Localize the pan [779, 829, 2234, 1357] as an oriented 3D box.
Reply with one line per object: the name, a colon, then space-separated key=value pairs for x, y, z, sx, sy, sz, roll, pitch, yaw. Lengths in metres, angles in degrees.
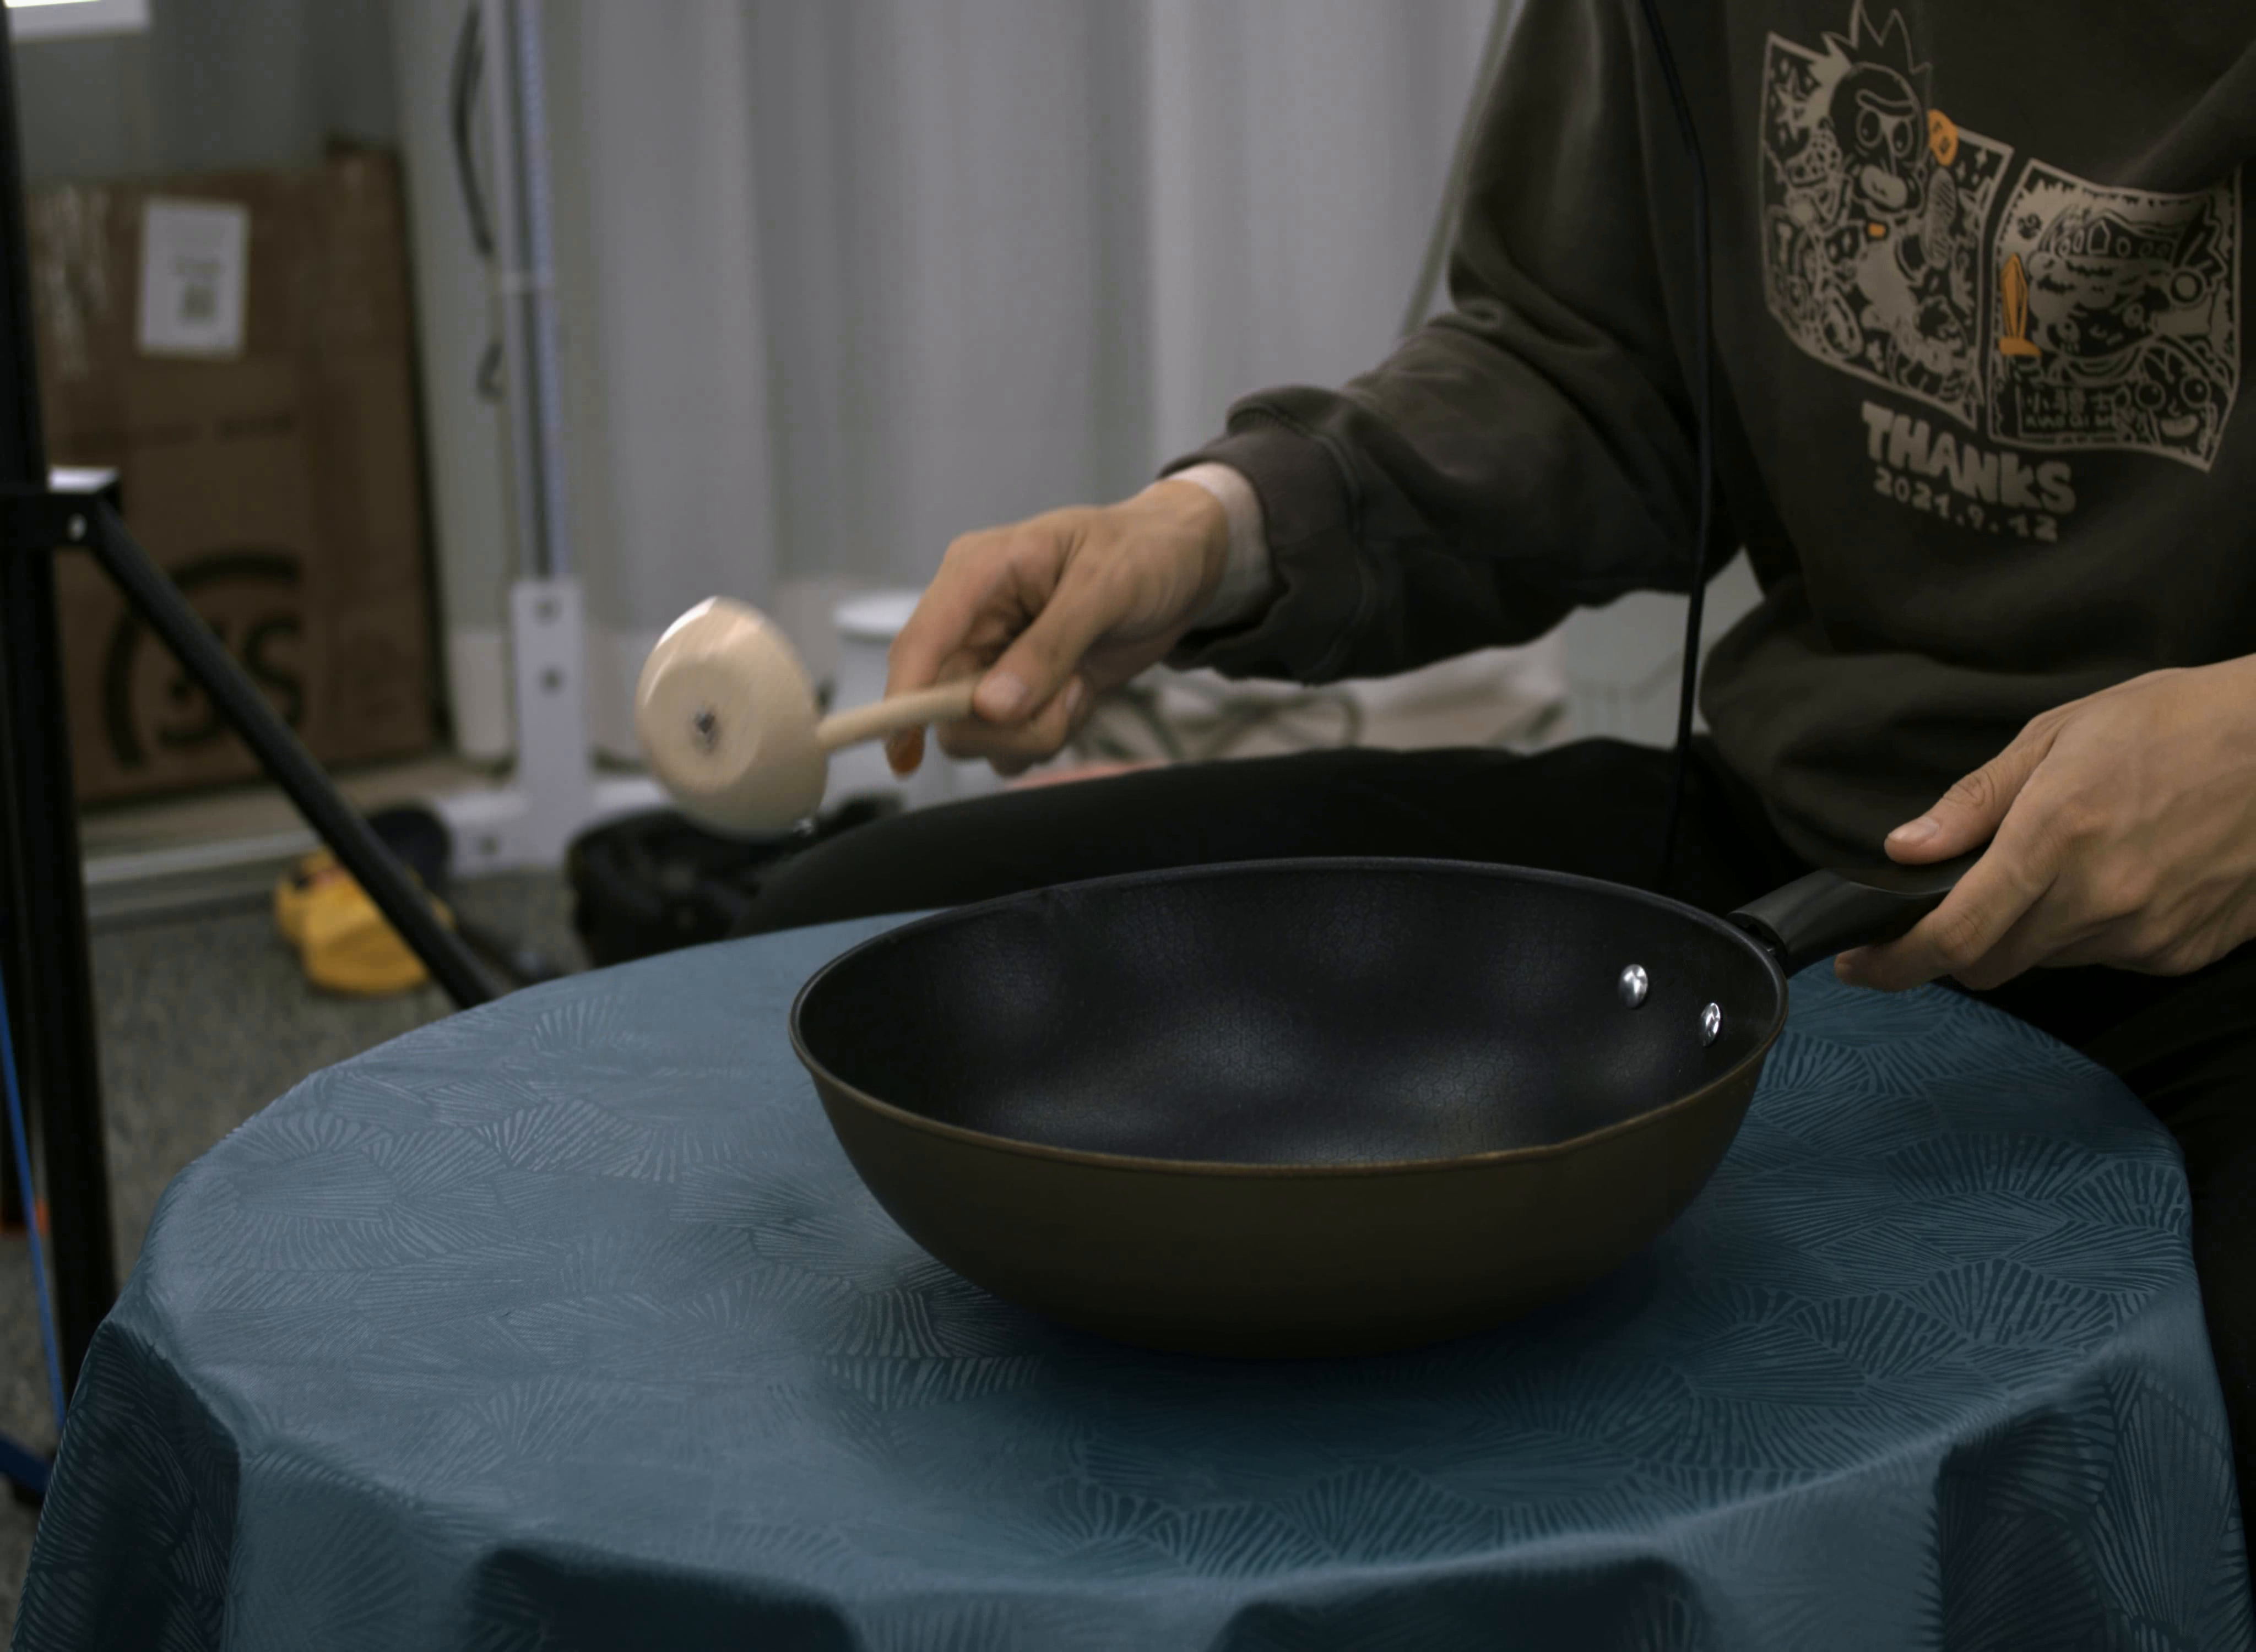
pan: x=0.124 y=0.070 z=1.522 sx=0.454 sy=0.087 sz=0.294 roll=-9 pitch=17 yaw=-24

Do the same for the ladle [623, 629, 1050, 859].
ladle: x=-0.070 y=-0.047 z=1.689 sx=0.073 sy=0.073 sz=0.250 roll=50 pitch=31 yaw=10
